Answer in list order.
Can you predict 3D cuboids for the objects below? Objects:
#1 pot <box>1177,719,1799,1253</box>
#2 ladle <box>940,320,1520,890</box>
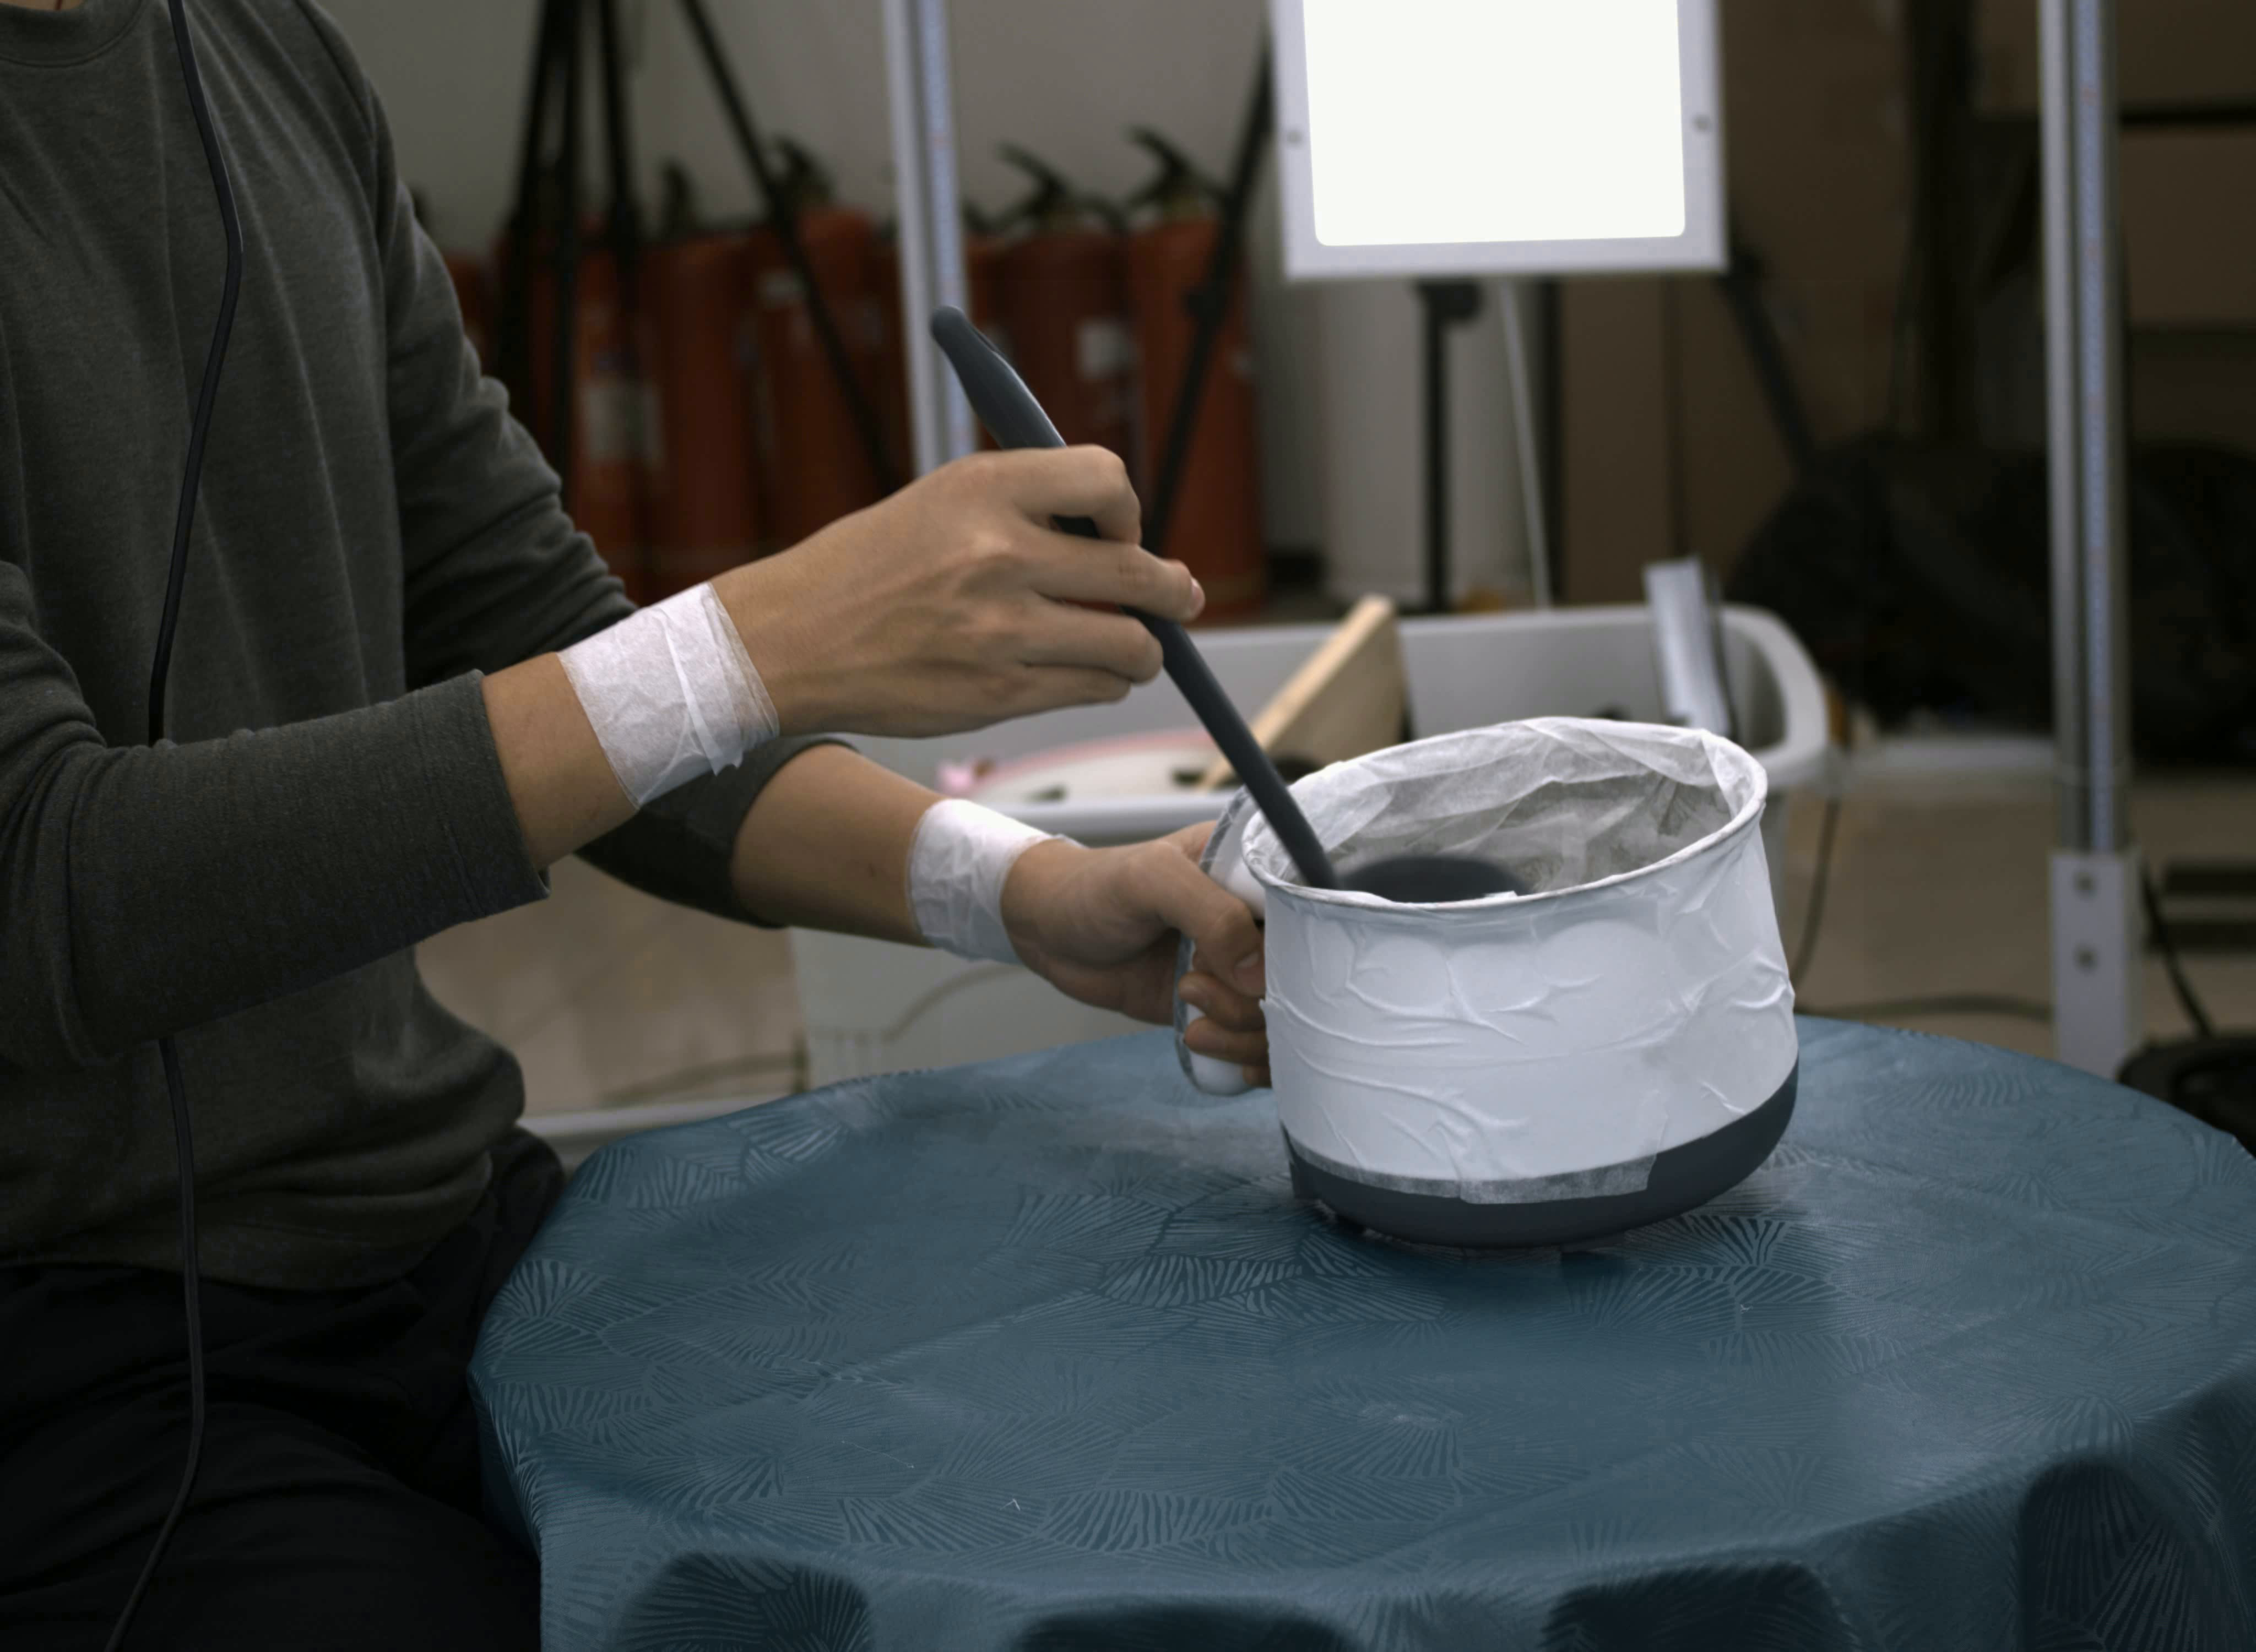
[{"bbox_3d":[0.112,0.052,1.858,0.238,0.137,0.174,5,23,38],"label":"pot"},{"bbox_3d":[0.043,-0.054,1.780,0.064,0.311,0.086,-33,26,4],"label":"ladle"}]
